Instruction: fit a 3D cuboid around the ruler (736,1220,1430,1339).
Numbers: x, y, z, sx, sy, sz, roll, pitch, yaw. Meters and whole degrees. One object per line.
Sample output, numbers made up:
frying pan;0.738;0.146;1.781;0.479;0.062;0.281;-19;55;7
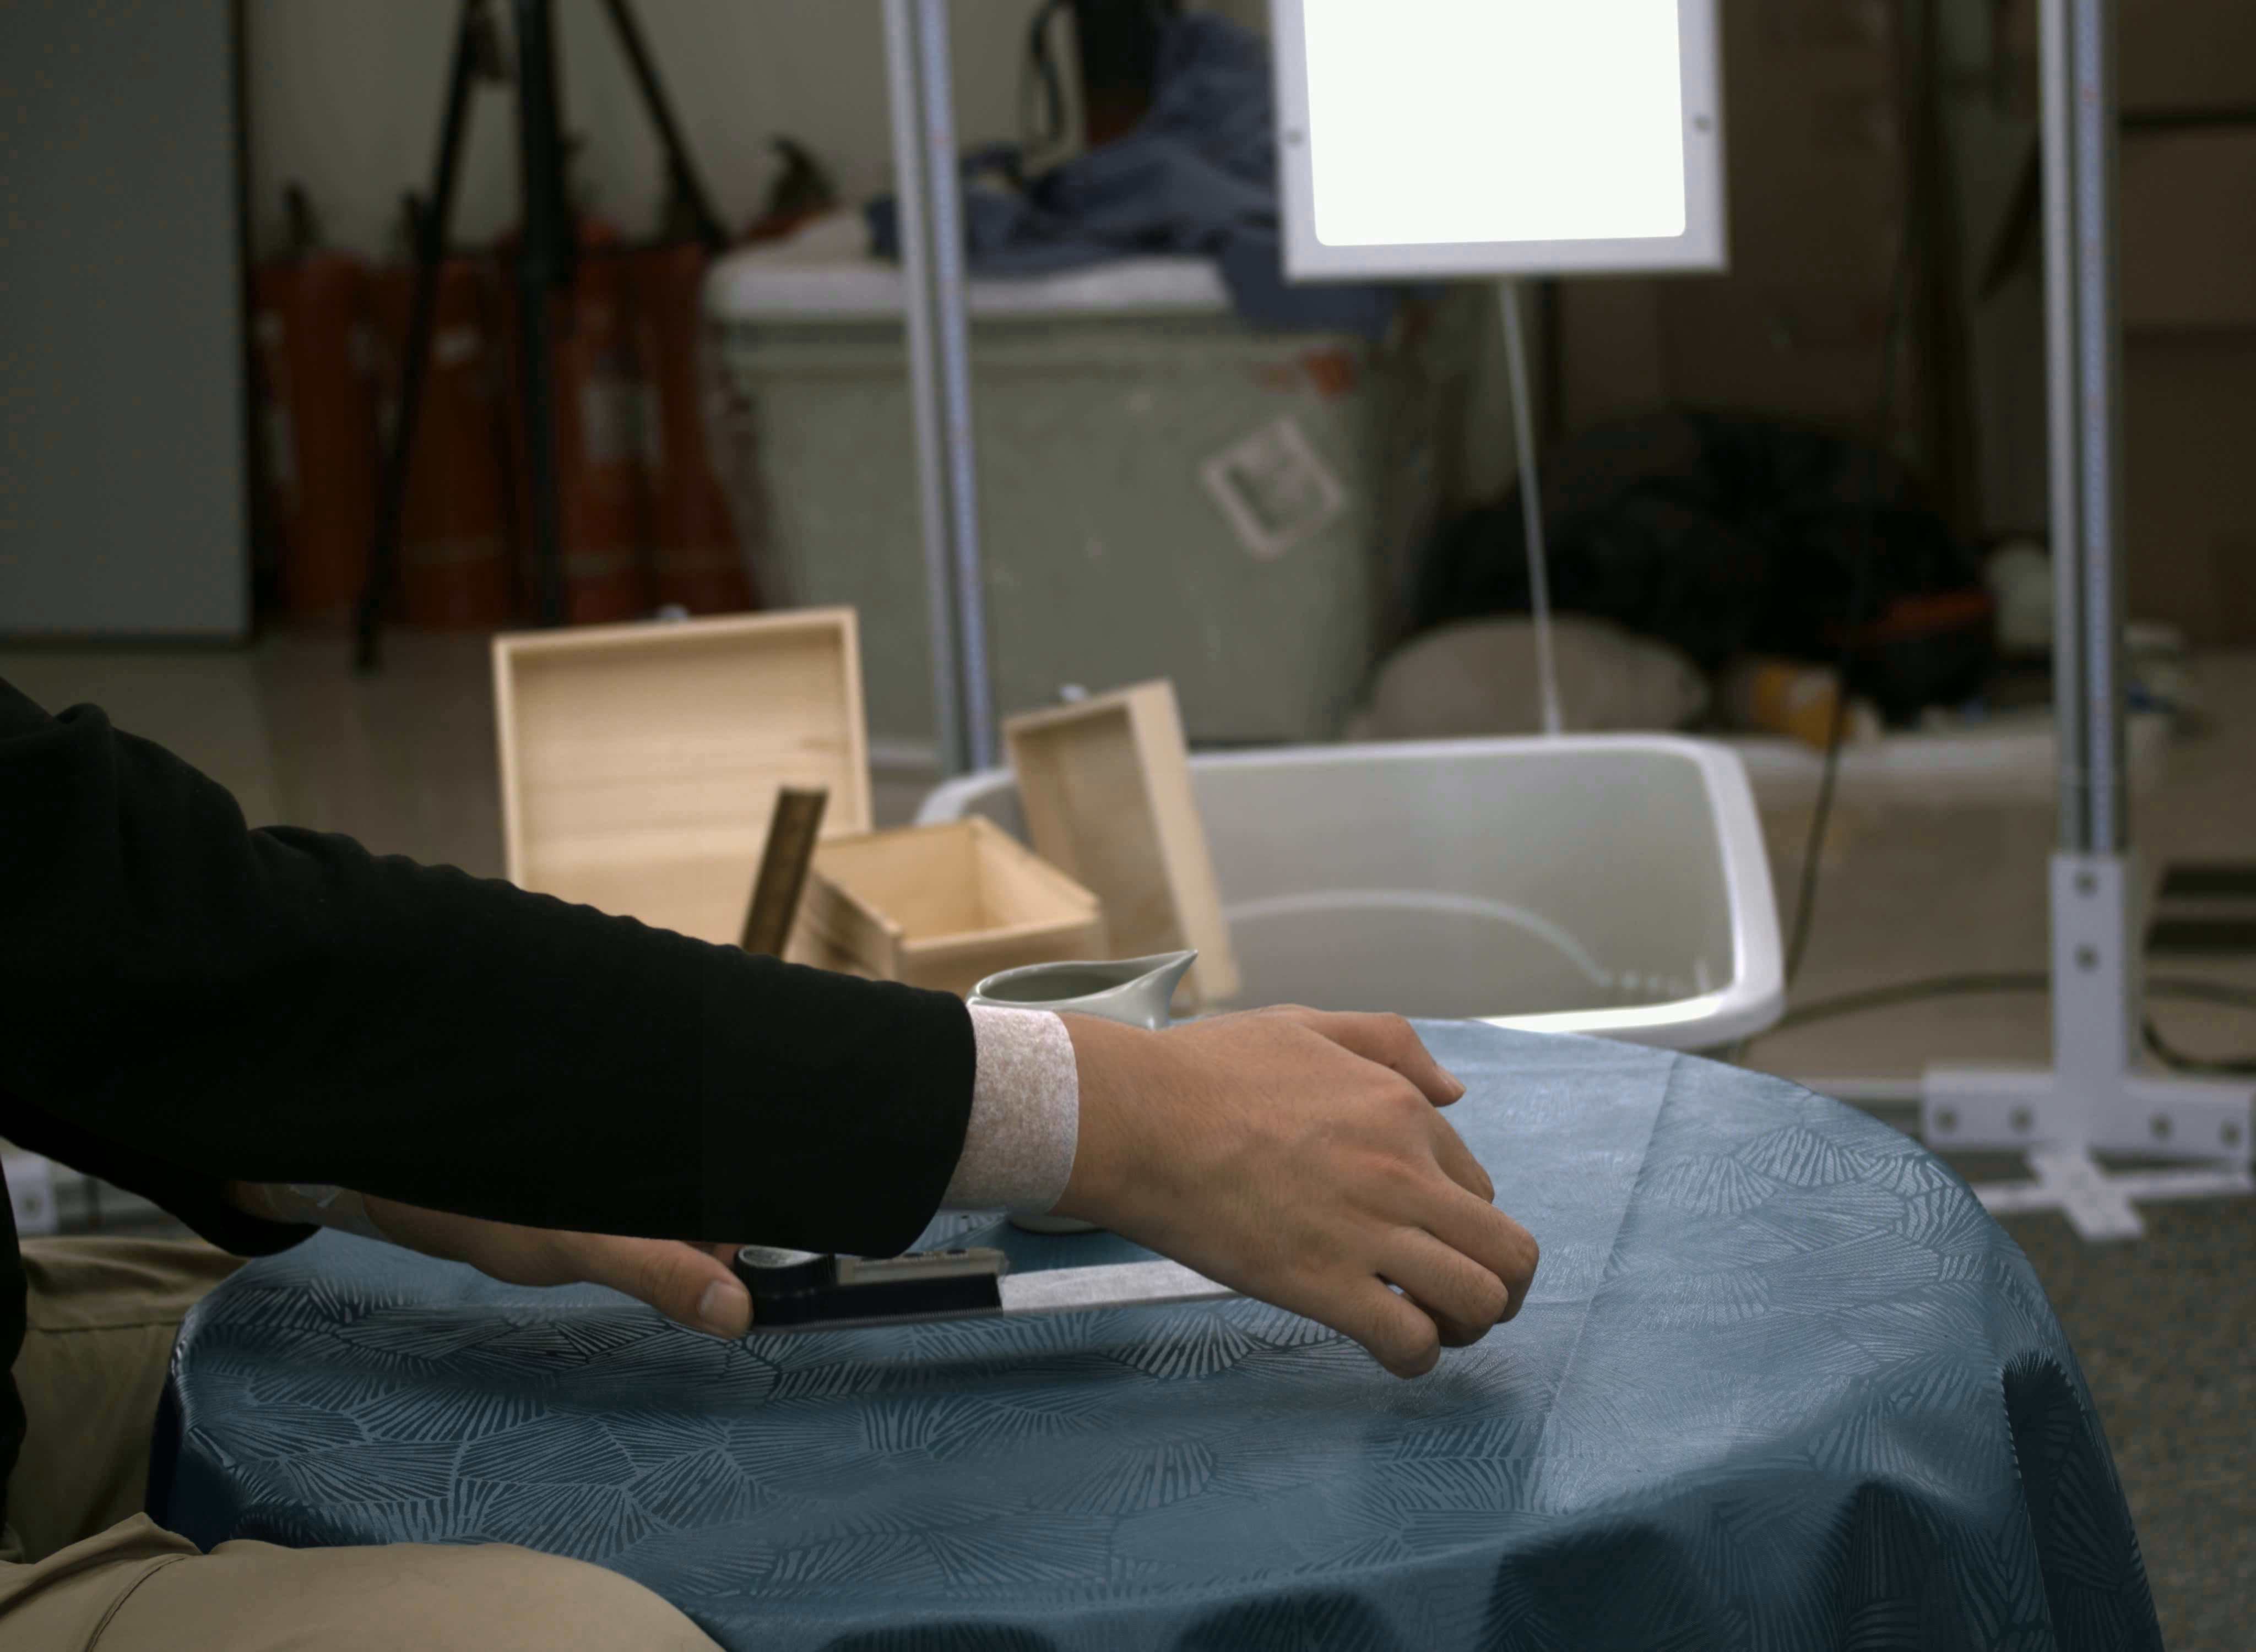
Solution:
ruler;-0.015;0.135;1.727;0.218;0.024;0.038;-6;21;3

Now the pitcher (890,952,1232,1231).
pitcher;-0.021;0.090;1.870;0.118;0.088;0.076;-4;10;-2
